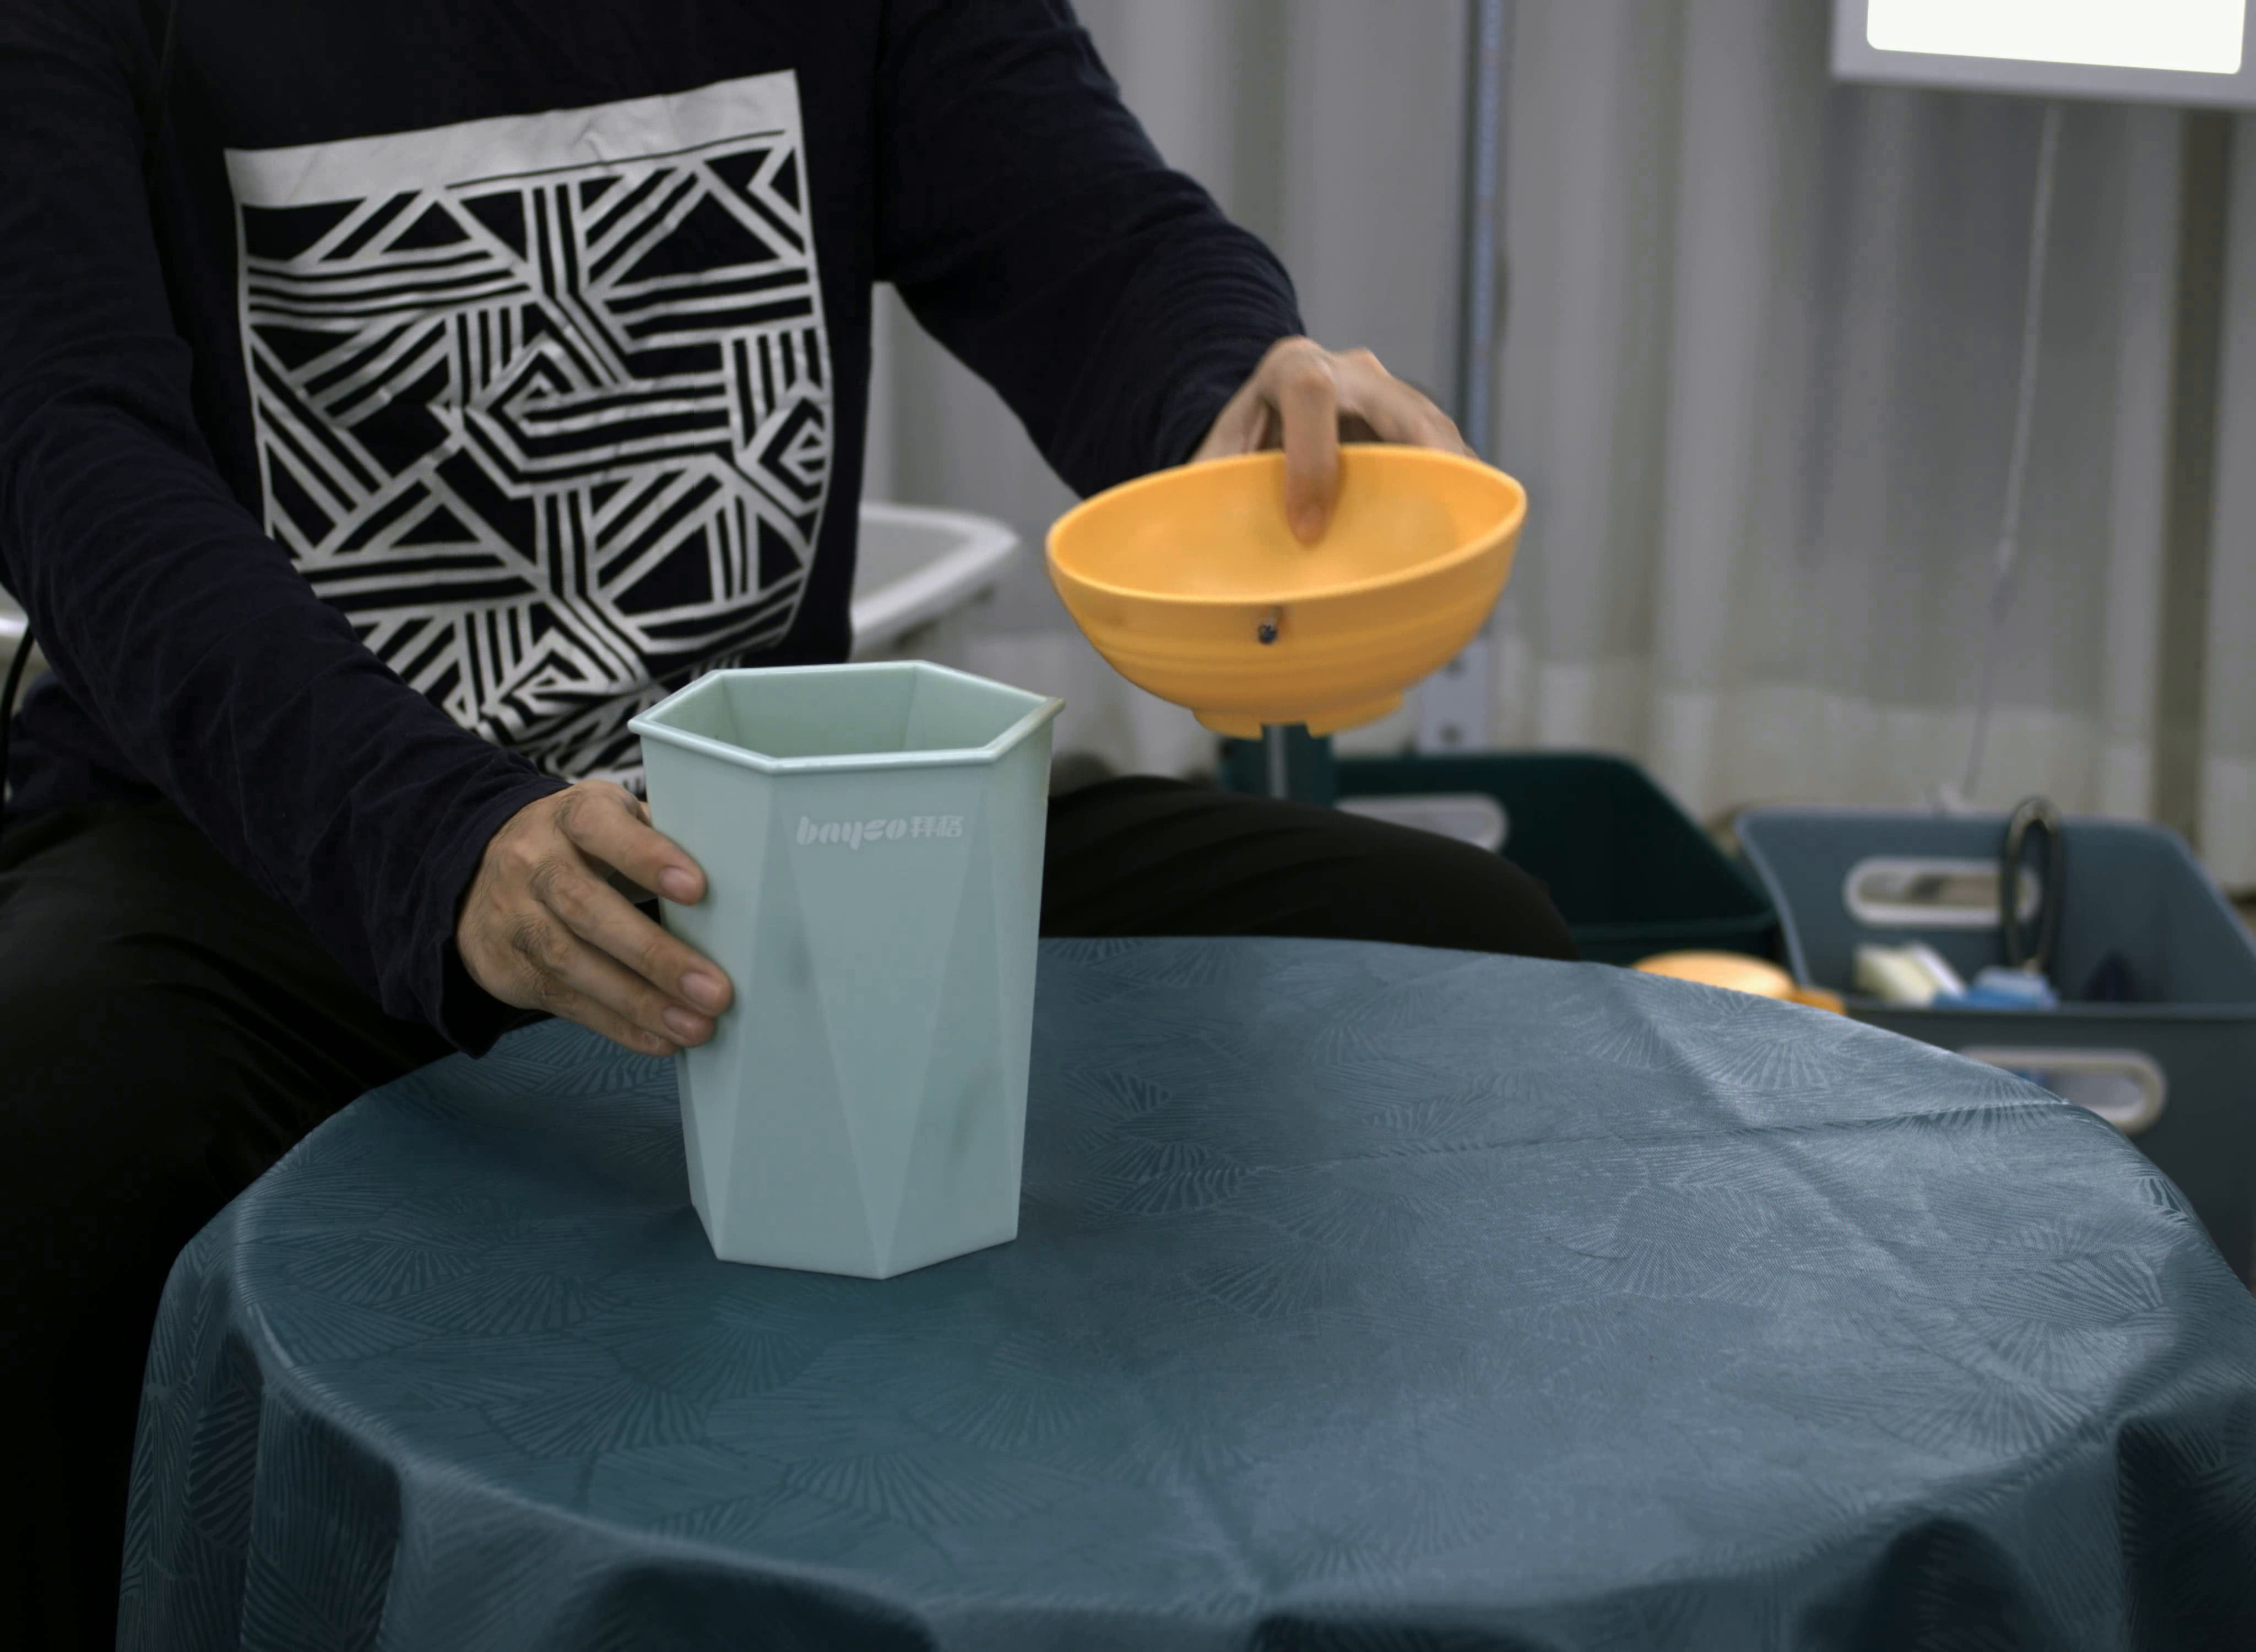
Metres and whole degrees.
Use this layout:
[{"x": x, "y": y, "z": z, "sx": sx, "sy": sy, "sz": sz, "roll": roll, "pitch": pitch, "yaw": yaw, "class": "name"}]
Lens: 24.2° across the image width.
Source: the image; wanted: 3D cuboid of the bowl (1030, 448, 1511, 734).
[{"x": 0.046, "y": -0.066, "z": 1.577, "sx": 0.145, "sy": 0.060, "sz": 0.144, "roll": -6, "pitch": 18, "yaw": 3, "class": "bowl"}]

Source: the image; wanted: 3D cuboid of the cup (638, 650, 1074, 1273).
[{"x": -0.081, "y": 0.040, "z": 1.571, "sx": 0.131, "sy": 0.164, "sz": 0.114, "roll": -3, "pitch": 16, "yaw": -14, "class": "cup"}]
